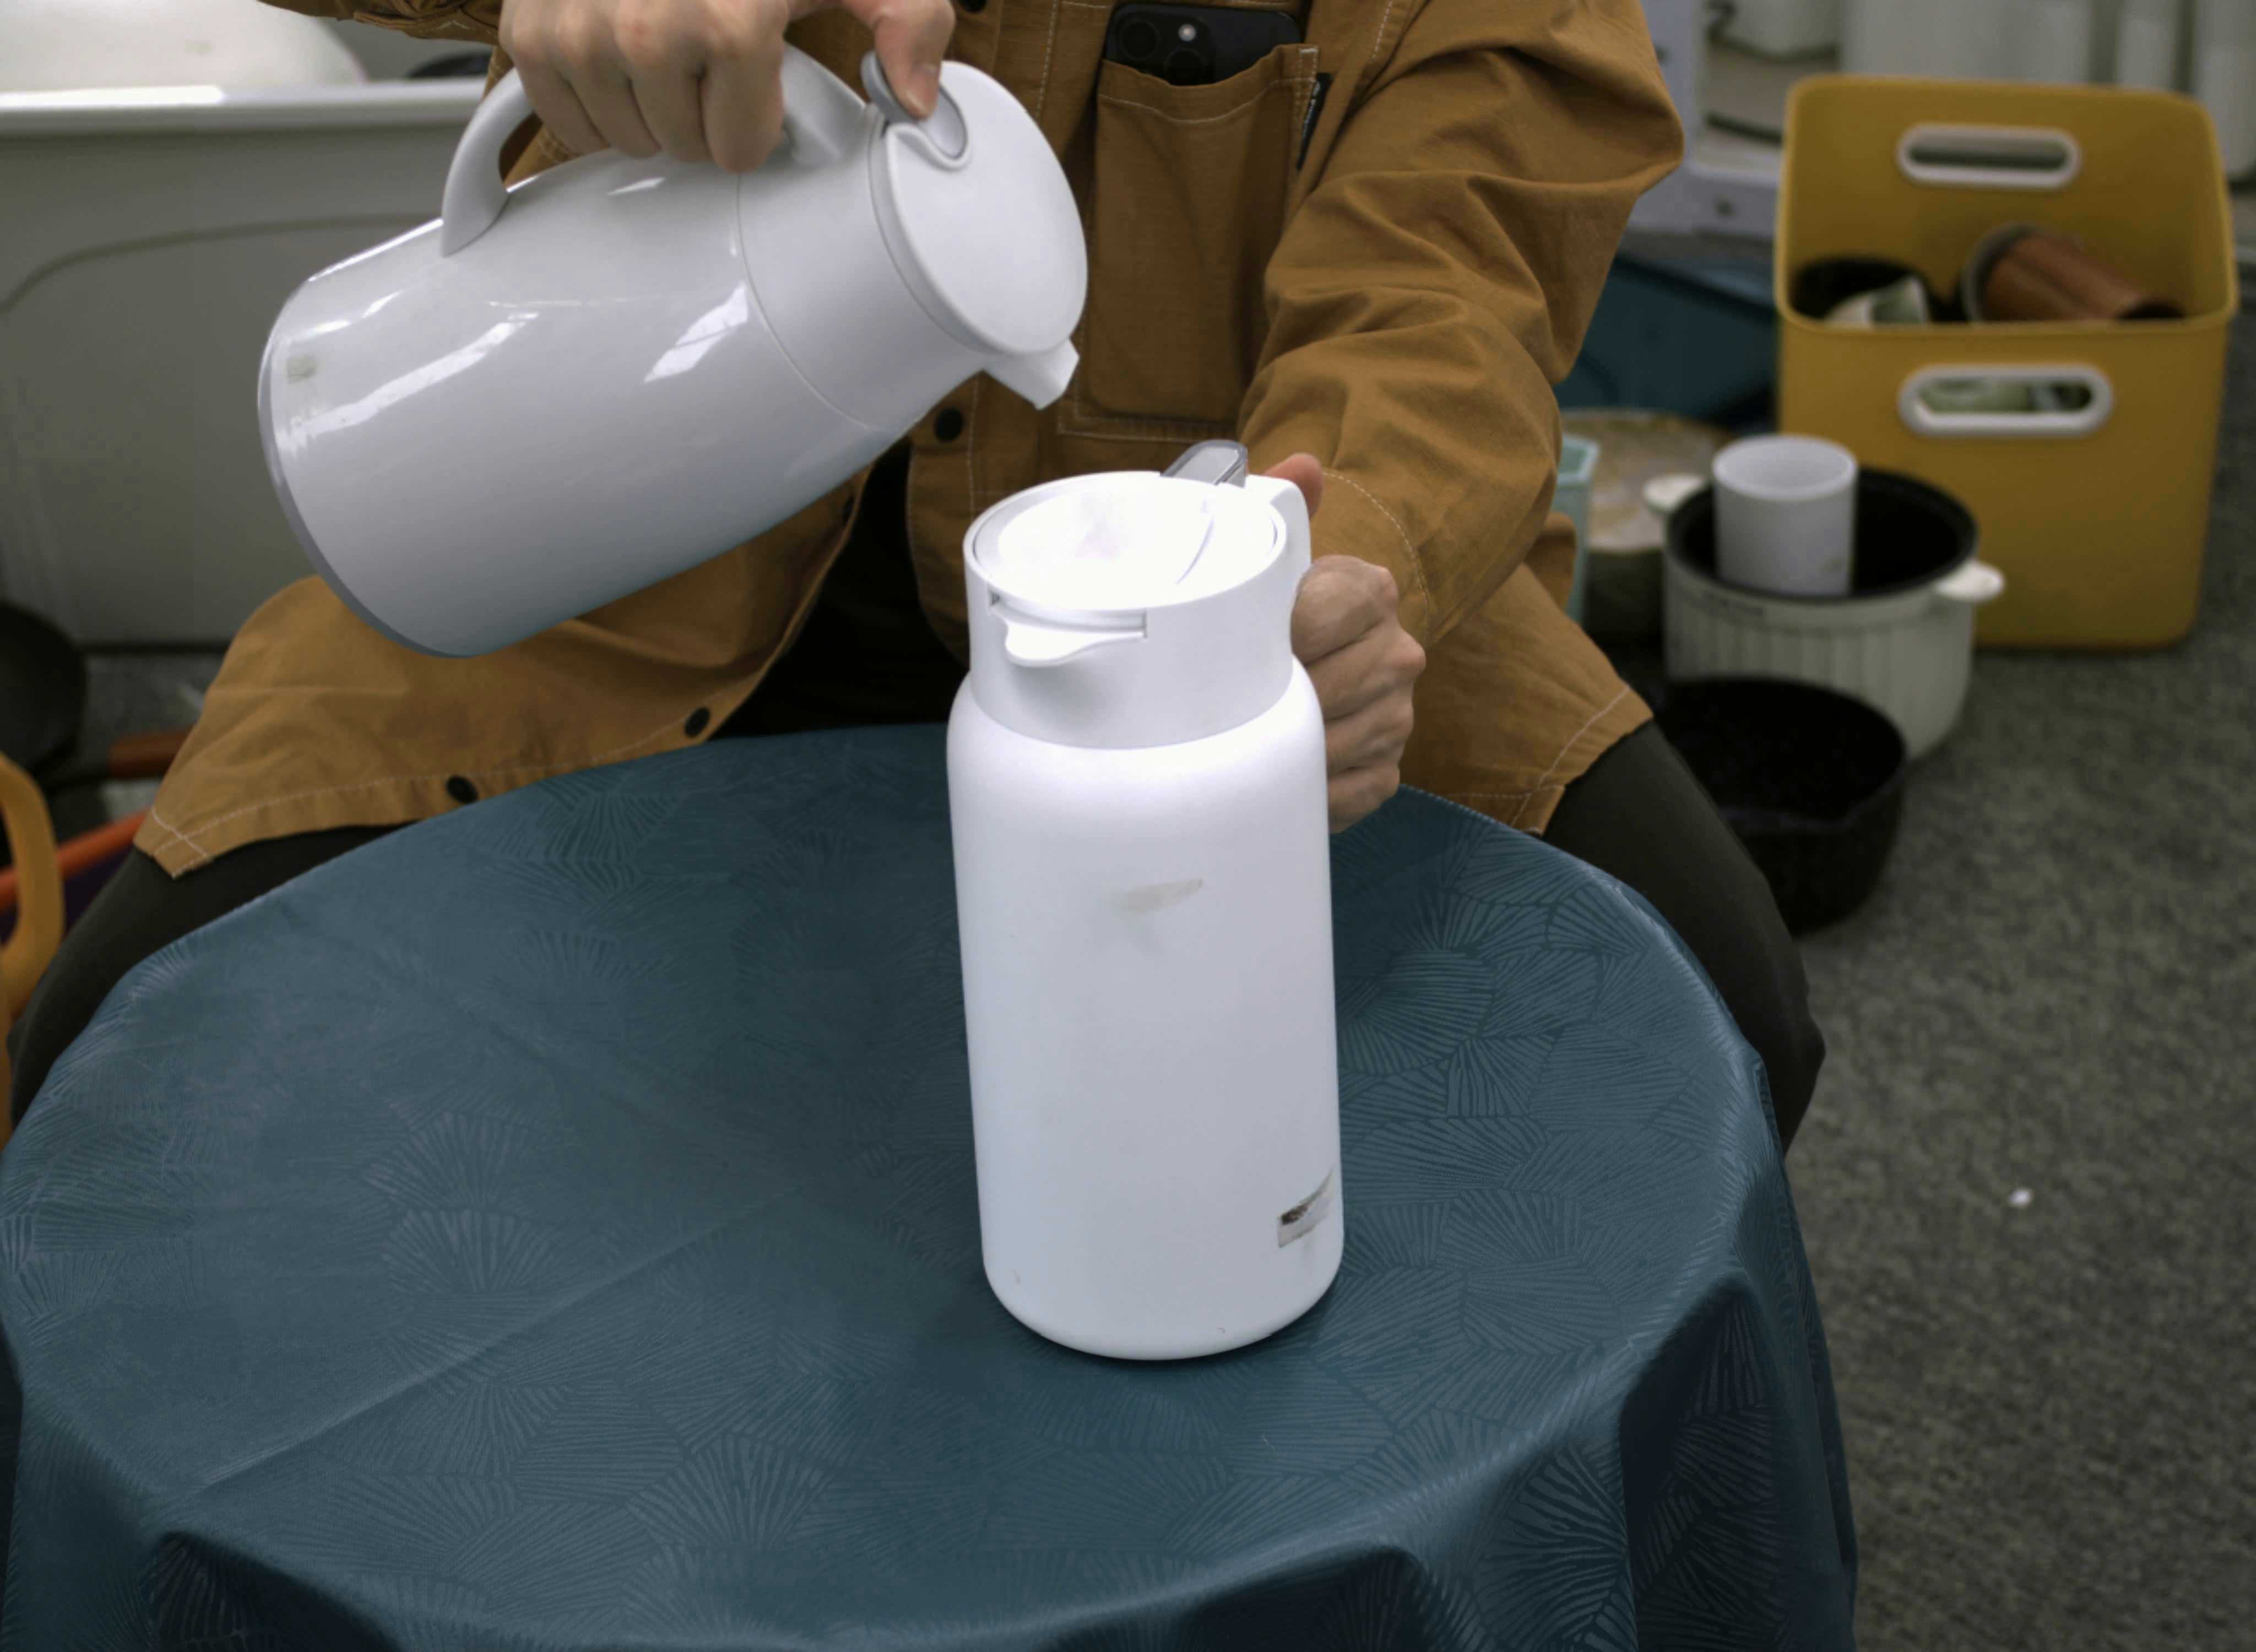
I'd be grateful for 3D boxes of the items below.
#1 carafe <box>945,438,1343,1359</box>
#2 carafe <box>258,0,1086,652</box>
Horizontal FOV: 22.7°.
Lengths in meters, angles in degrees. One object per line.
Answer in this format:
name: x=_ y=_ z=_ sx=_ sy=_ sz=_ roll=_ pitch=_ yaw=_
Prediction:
carafe: x=0.011 y=0.019 z=1.770 sx=0.123 sy=0.266 sz=0.176 roll=7 pitch=28 yaw=24
carafe: x=-0.143 y=-0.165 z=1.711 sx=0.245 sy=0.166 sz=0.135 roll=-21 pitch=31 yaw=32
